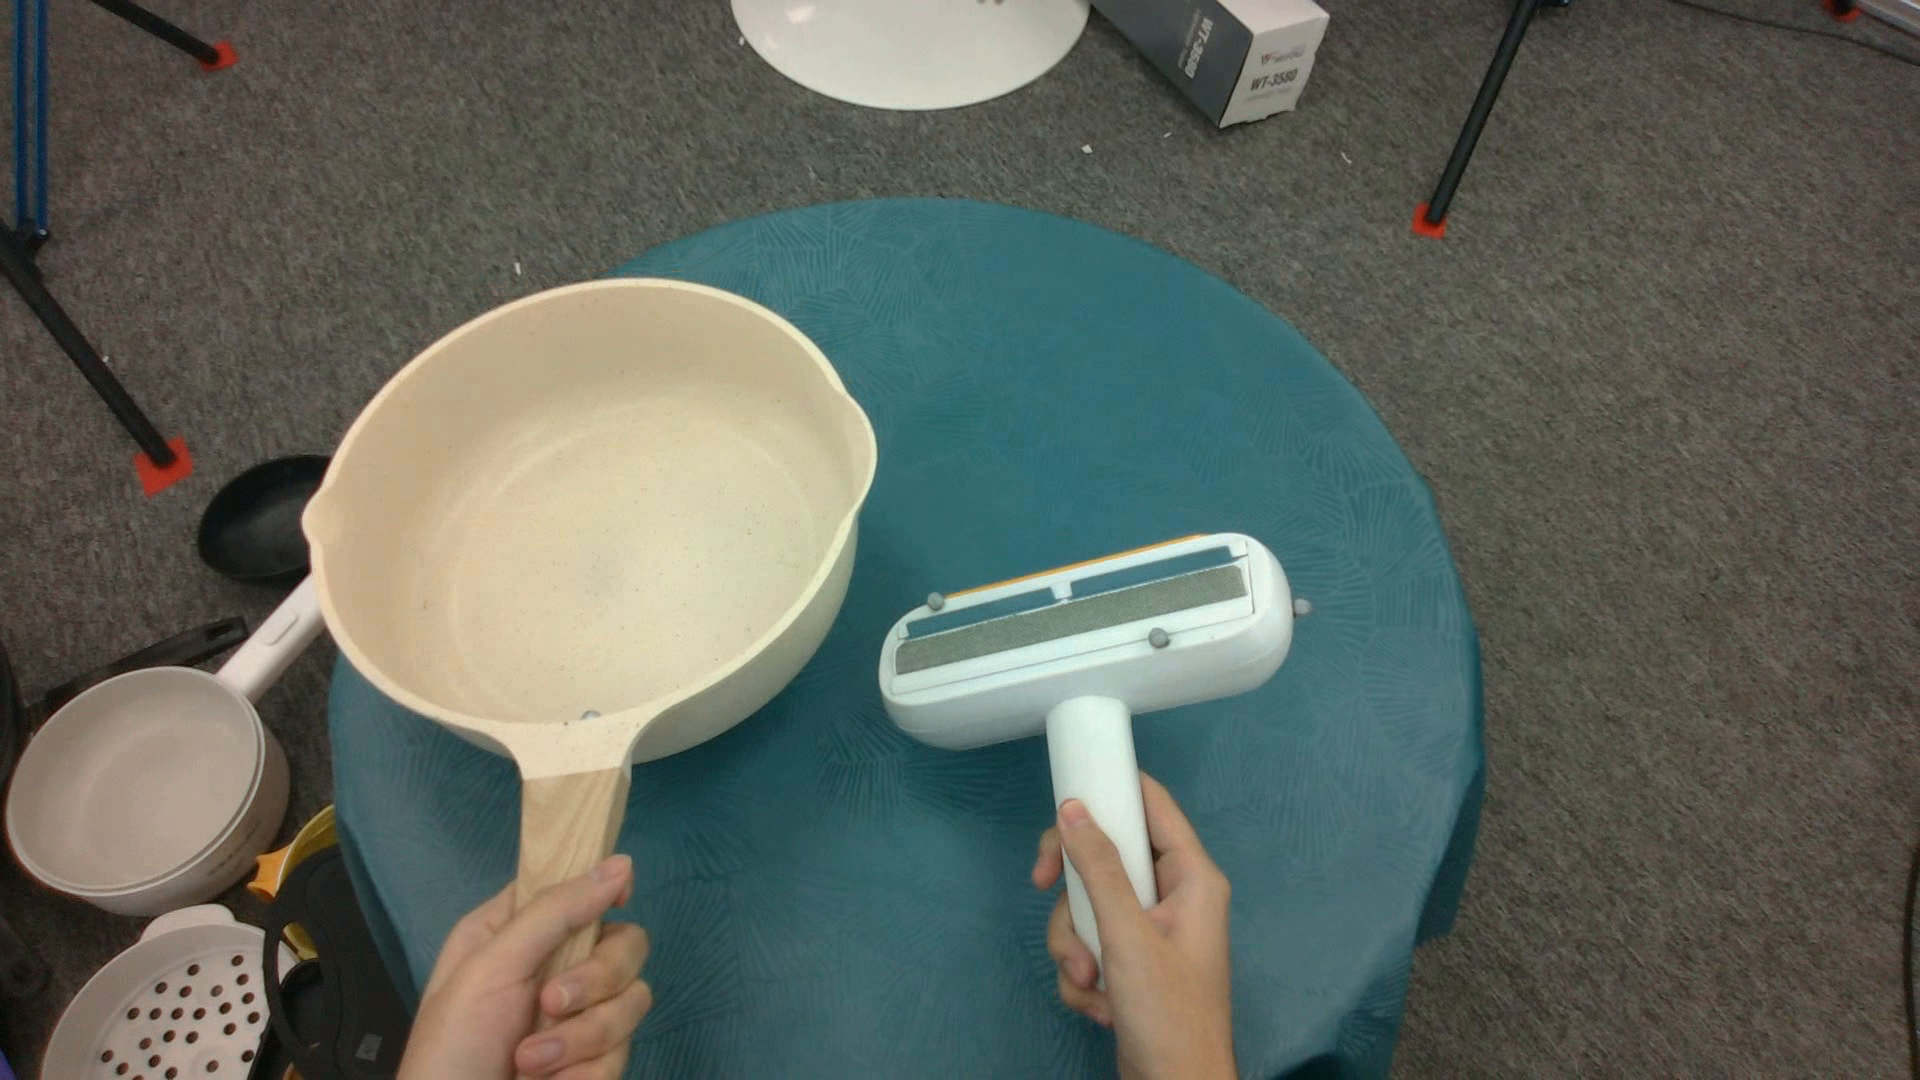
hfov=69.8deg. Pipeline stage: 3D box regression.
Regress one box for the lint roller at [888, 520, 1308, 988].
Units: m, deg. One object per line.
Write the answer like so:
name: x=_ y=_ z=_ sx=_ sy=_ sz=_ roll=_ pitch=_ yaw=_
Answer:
lint roller: x=0.059 y=0.091 z=0.597 sx=0.192 sy=0.074 sz=0.193 roll=-8 pitch=56 yaw=17

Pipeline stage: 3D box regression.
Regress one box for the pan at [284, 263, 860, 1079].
pan: x=-0.165 y=0.060 z=0.609 sx=0.263 sy=0.101 sz=0.436 roll=-6 pitch=57 yaw=-3
